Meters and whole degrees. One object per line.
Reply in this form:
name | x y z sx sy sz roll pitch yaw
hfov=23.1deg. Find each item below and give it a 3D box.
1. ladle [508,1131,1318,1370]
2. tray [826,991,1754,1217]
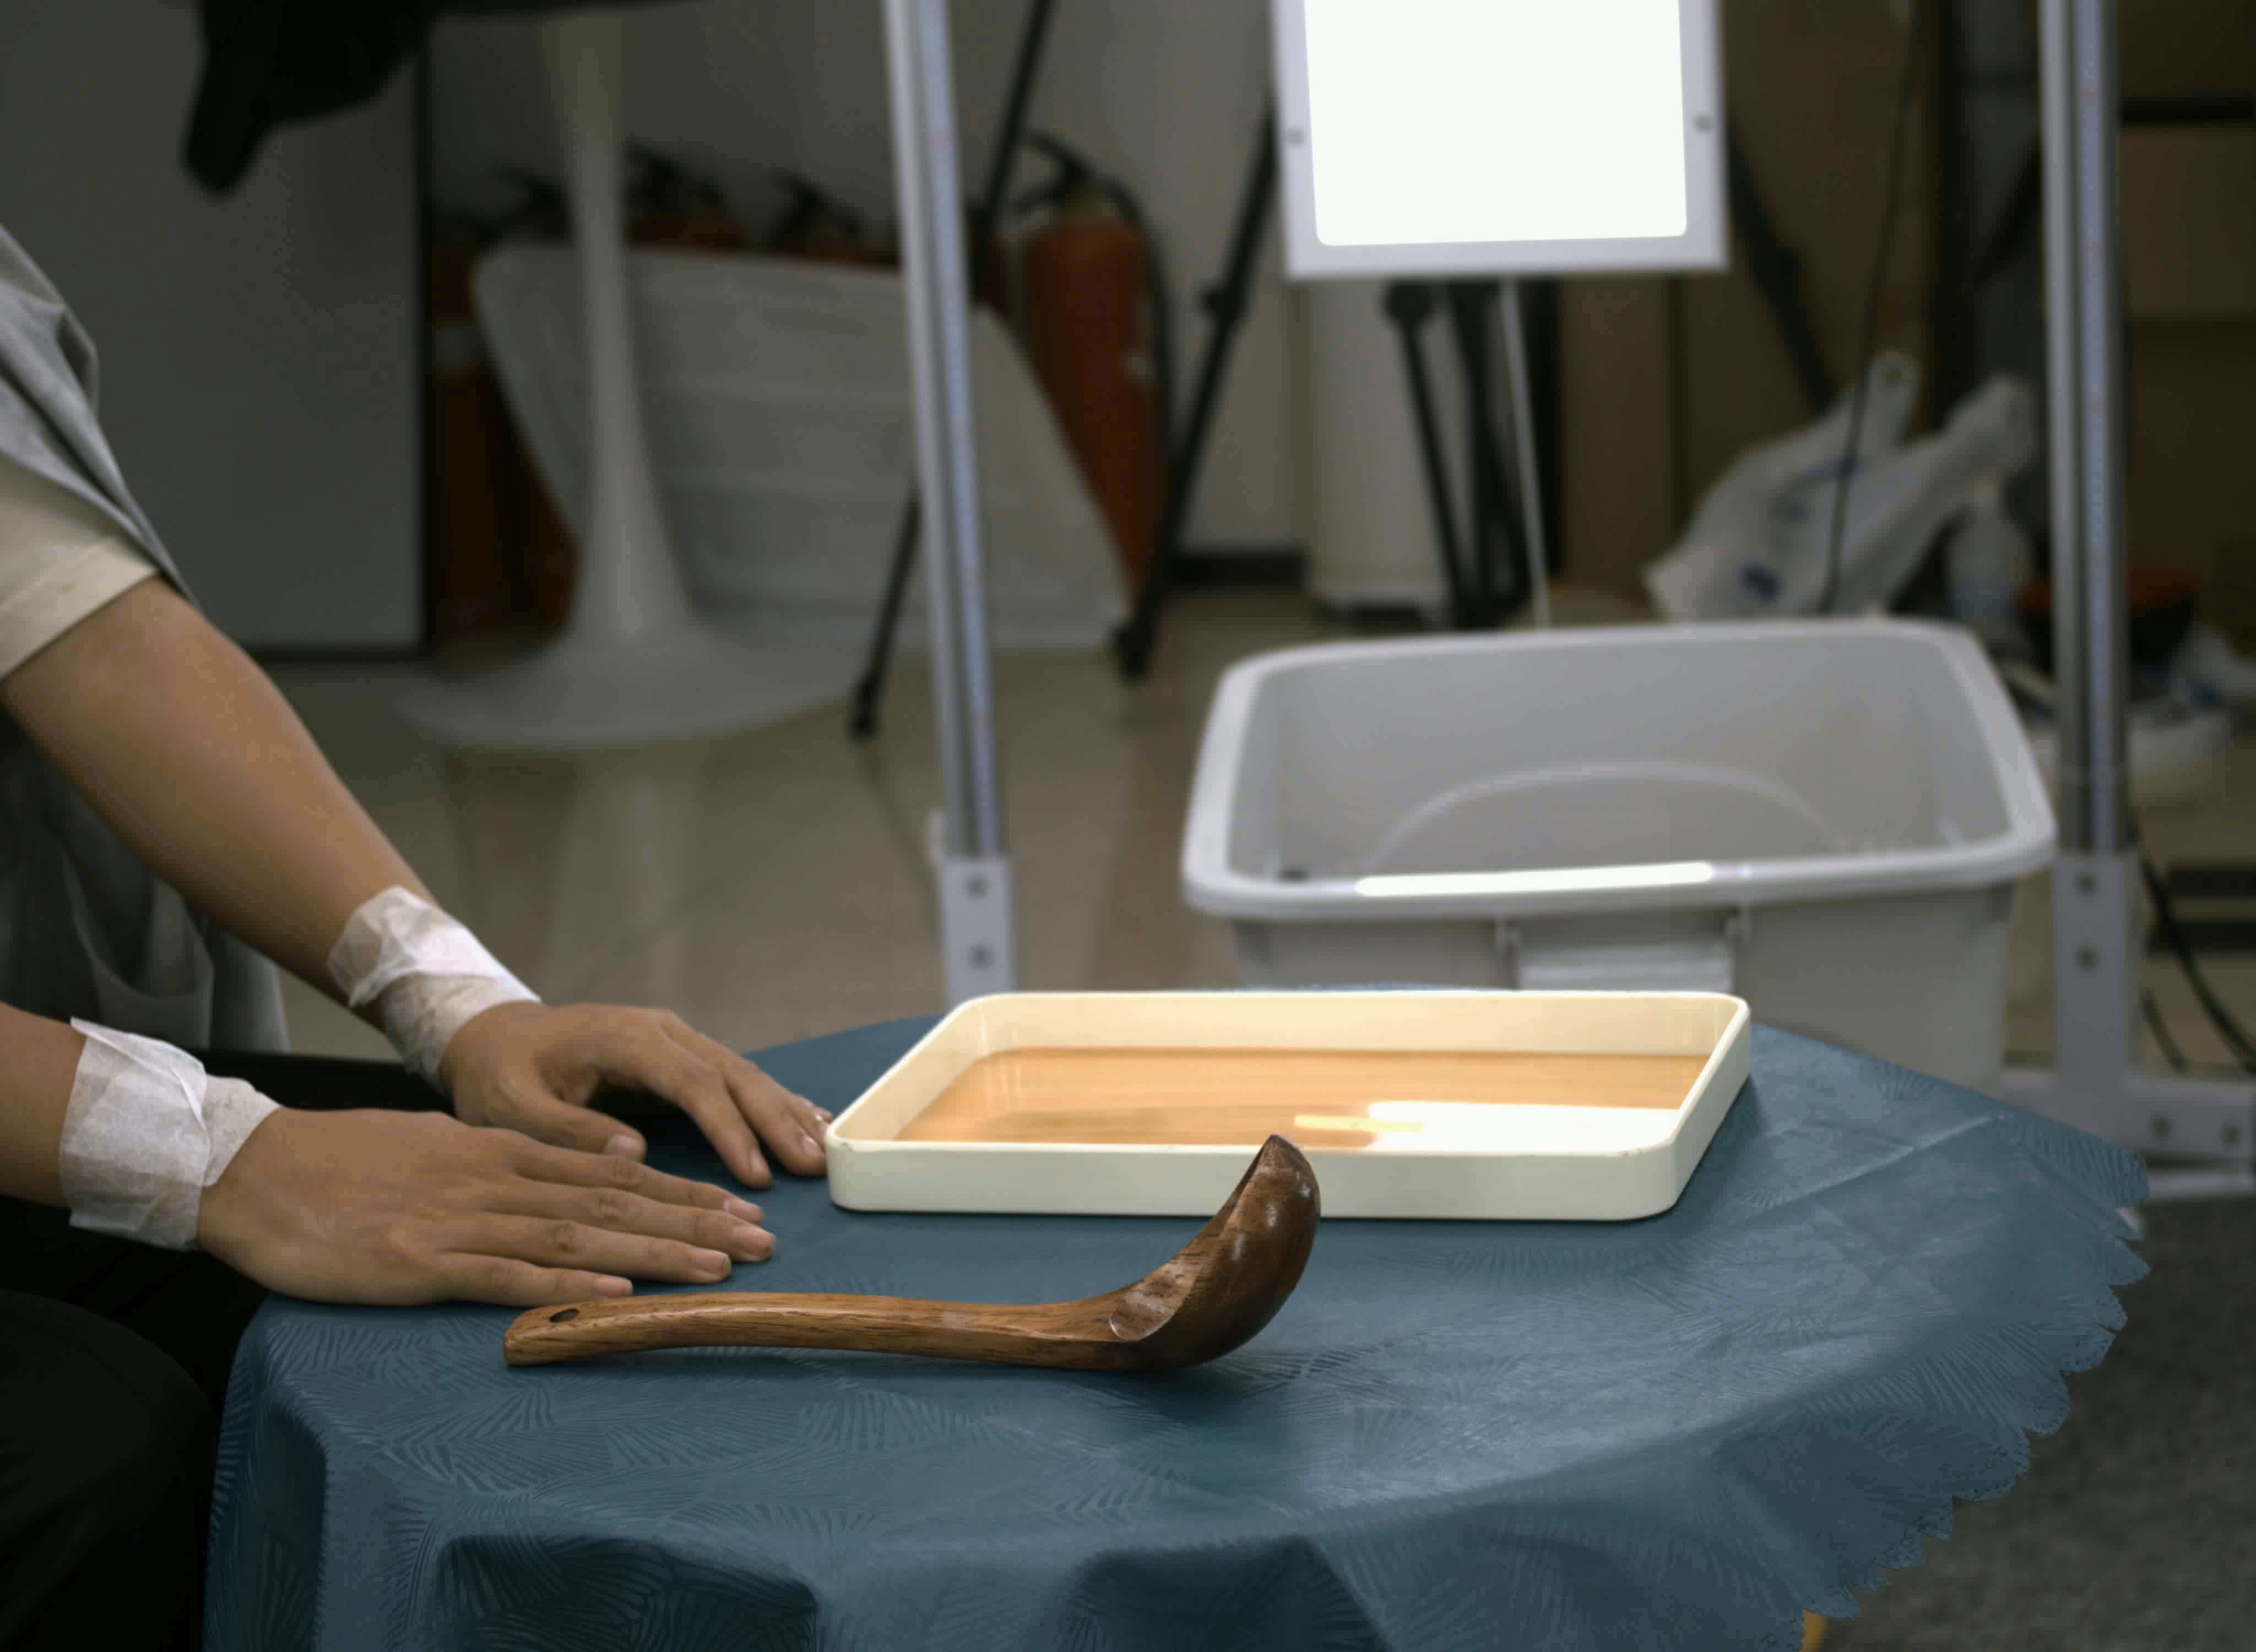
ladle | -0.072 0.133 1.733 0.277 0.077 0.080 0 18 19
tray | 0.060 0.096 1.940 0.304 0.027 0.188 -1 14 19
